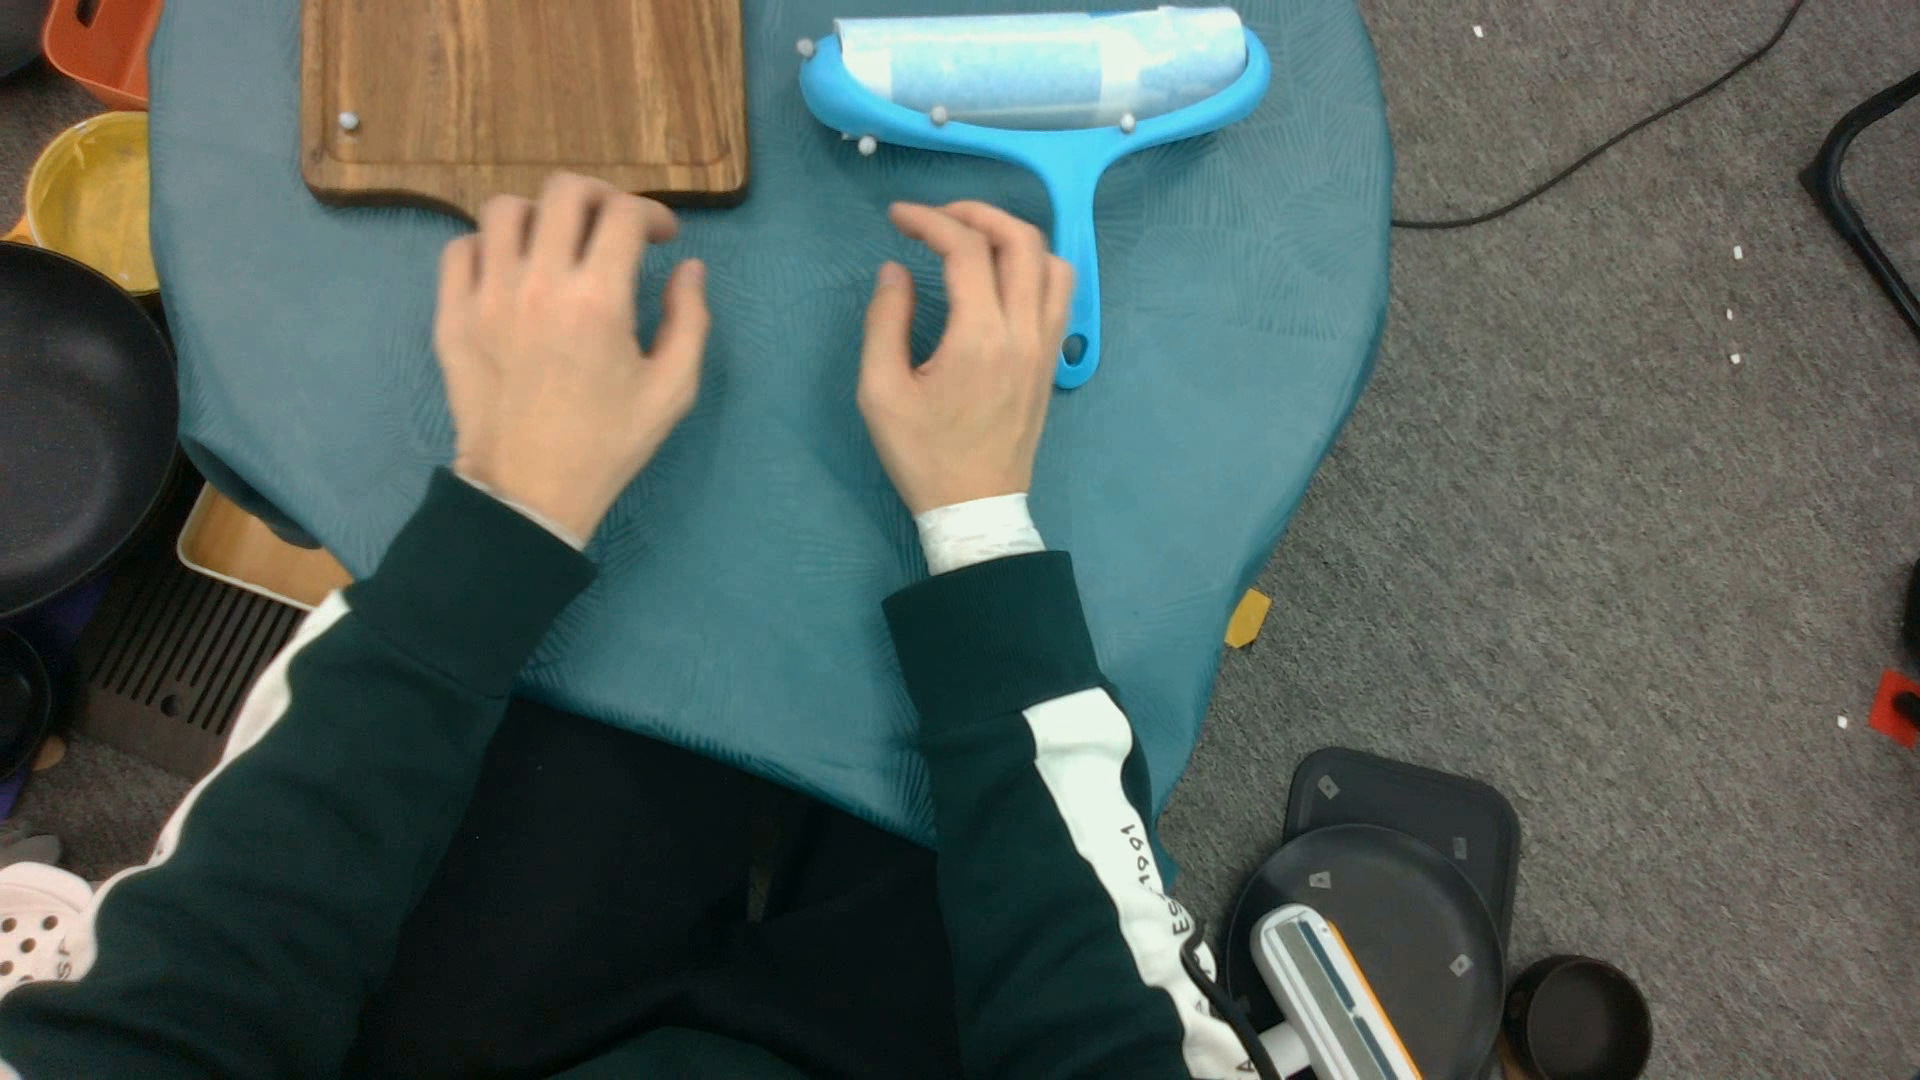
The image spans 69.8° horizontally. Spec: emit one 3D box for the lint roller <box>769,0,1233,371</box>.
[{"bbox_3d":[0.035,-0.176,0.659,0.229,0.068,0.180,-10,80,-13],"label":"lint roller"}]

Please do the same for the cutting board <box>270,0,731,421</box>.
[{"bbox_3d":[-0.214,-0.227,0.645,0.201,0.023,0.352,-5,80,-10],"label":"cutting board"}]
